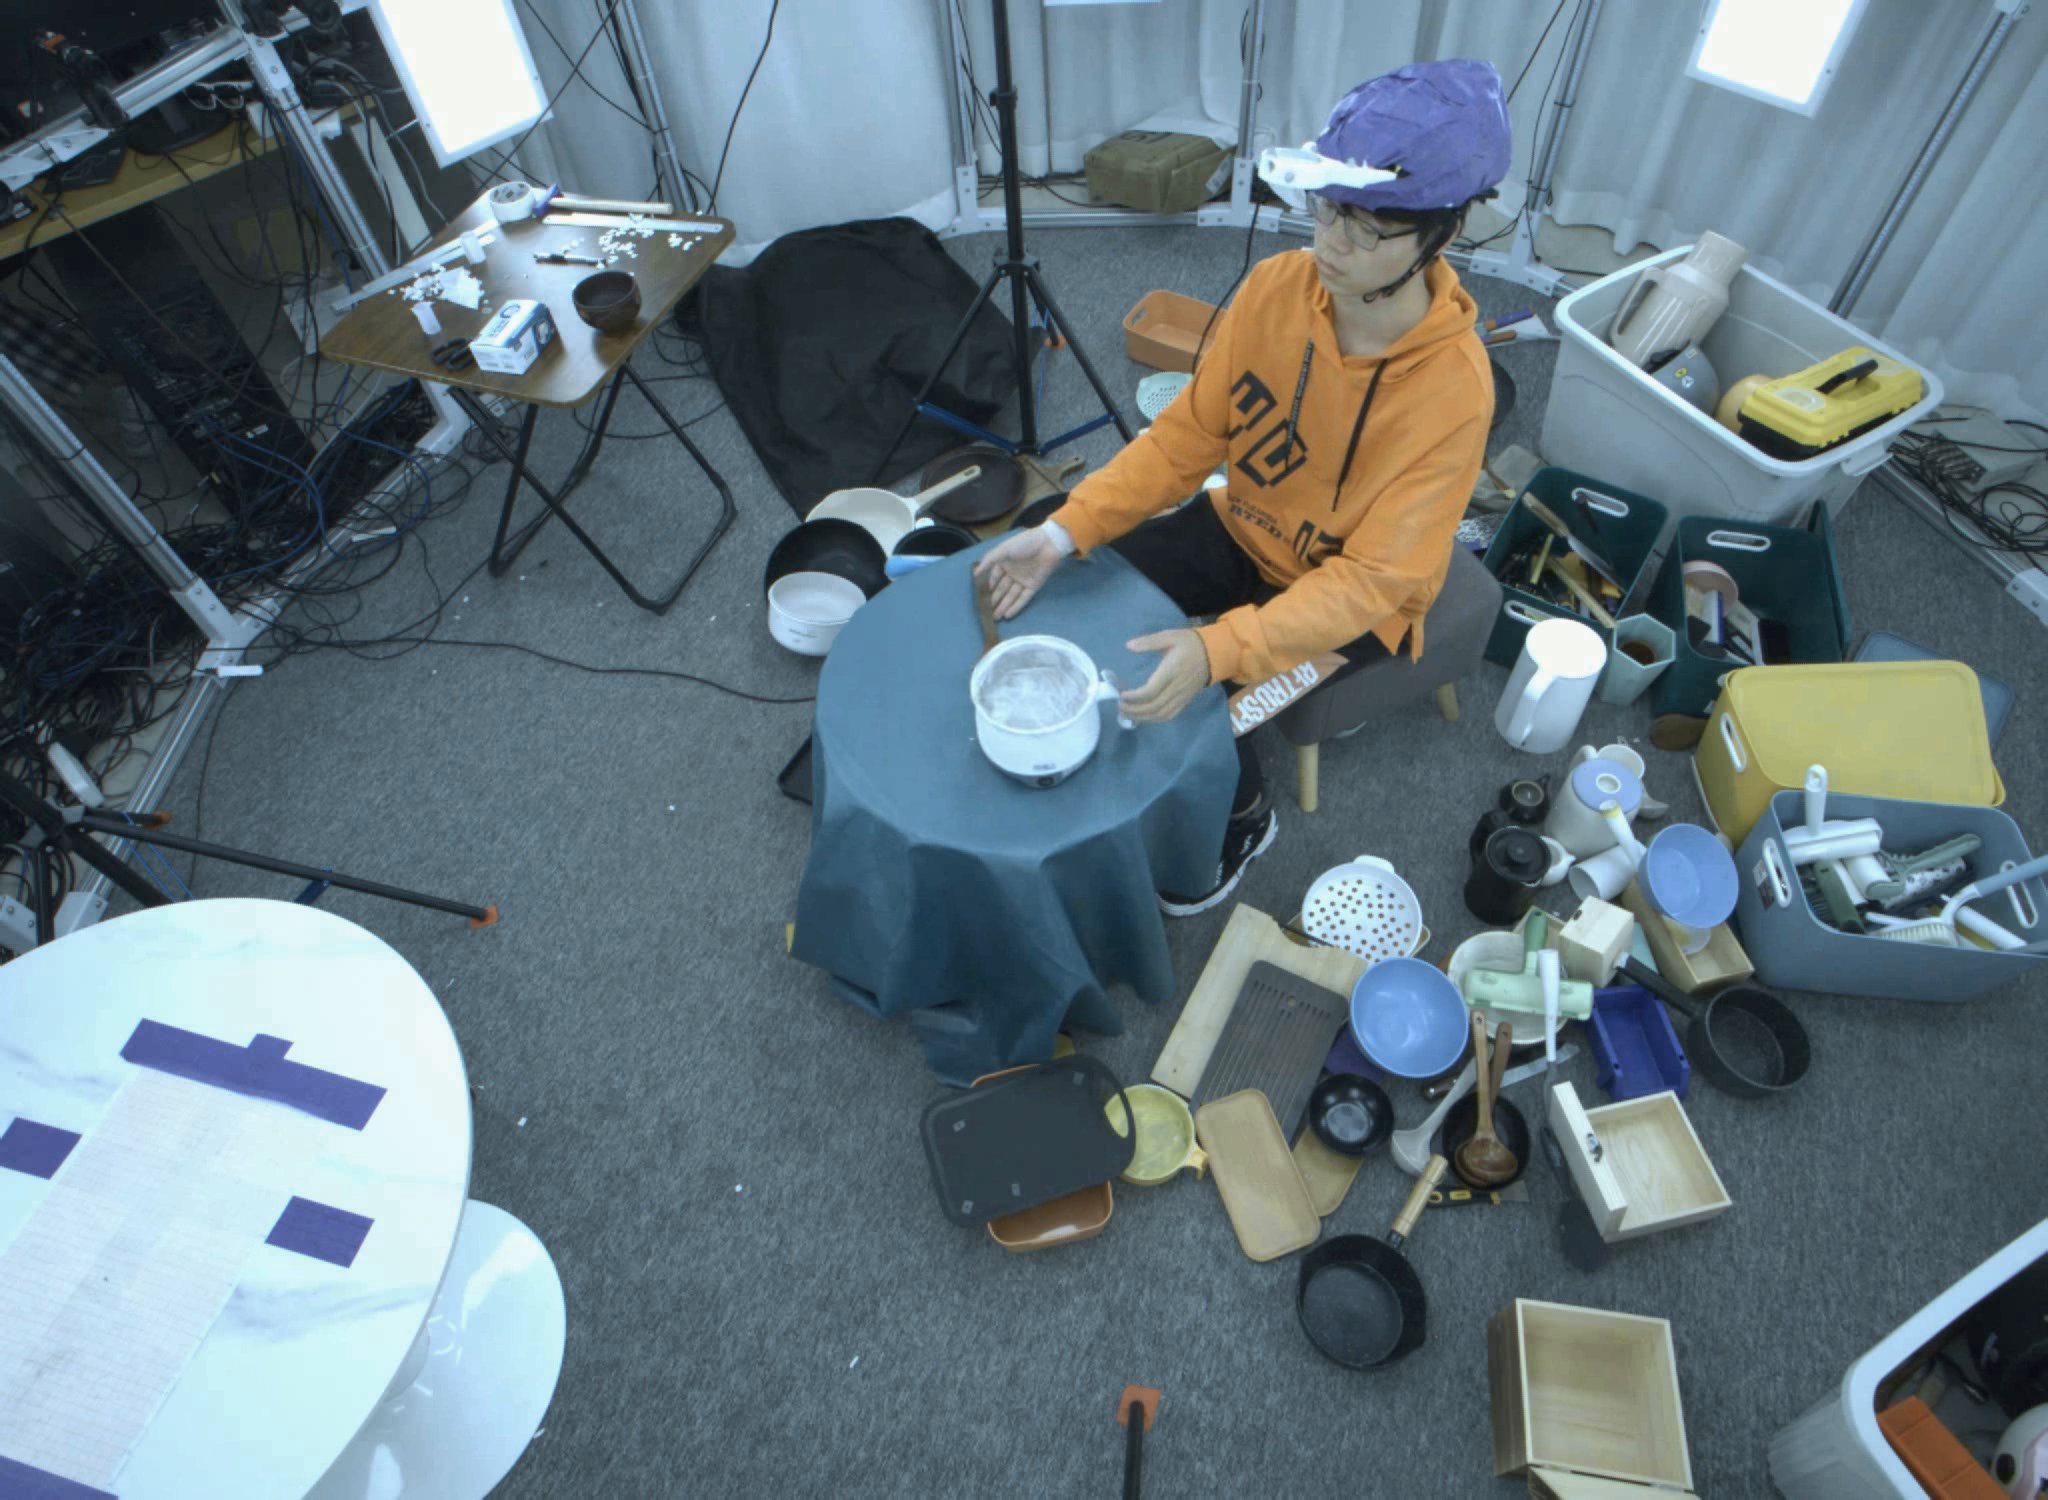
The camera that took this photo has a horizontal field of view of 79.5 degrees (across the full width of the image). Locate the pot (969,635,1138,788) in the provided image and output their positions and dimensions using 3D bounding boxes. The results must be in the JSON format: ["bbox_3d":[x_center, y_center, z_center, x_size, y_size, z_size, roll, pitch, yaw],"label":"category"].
[{"bbox_3d":[0.045,-0.058,1.741,0.234,0.138,0.176,-9,55,-3],"label":"pot"}]

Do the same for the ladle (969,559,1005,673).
[{"bbox_3d":[-0.059,-0.221,1.902,0.076,0.072,0.270,-8,56,-3],"label":"ladle"}]
